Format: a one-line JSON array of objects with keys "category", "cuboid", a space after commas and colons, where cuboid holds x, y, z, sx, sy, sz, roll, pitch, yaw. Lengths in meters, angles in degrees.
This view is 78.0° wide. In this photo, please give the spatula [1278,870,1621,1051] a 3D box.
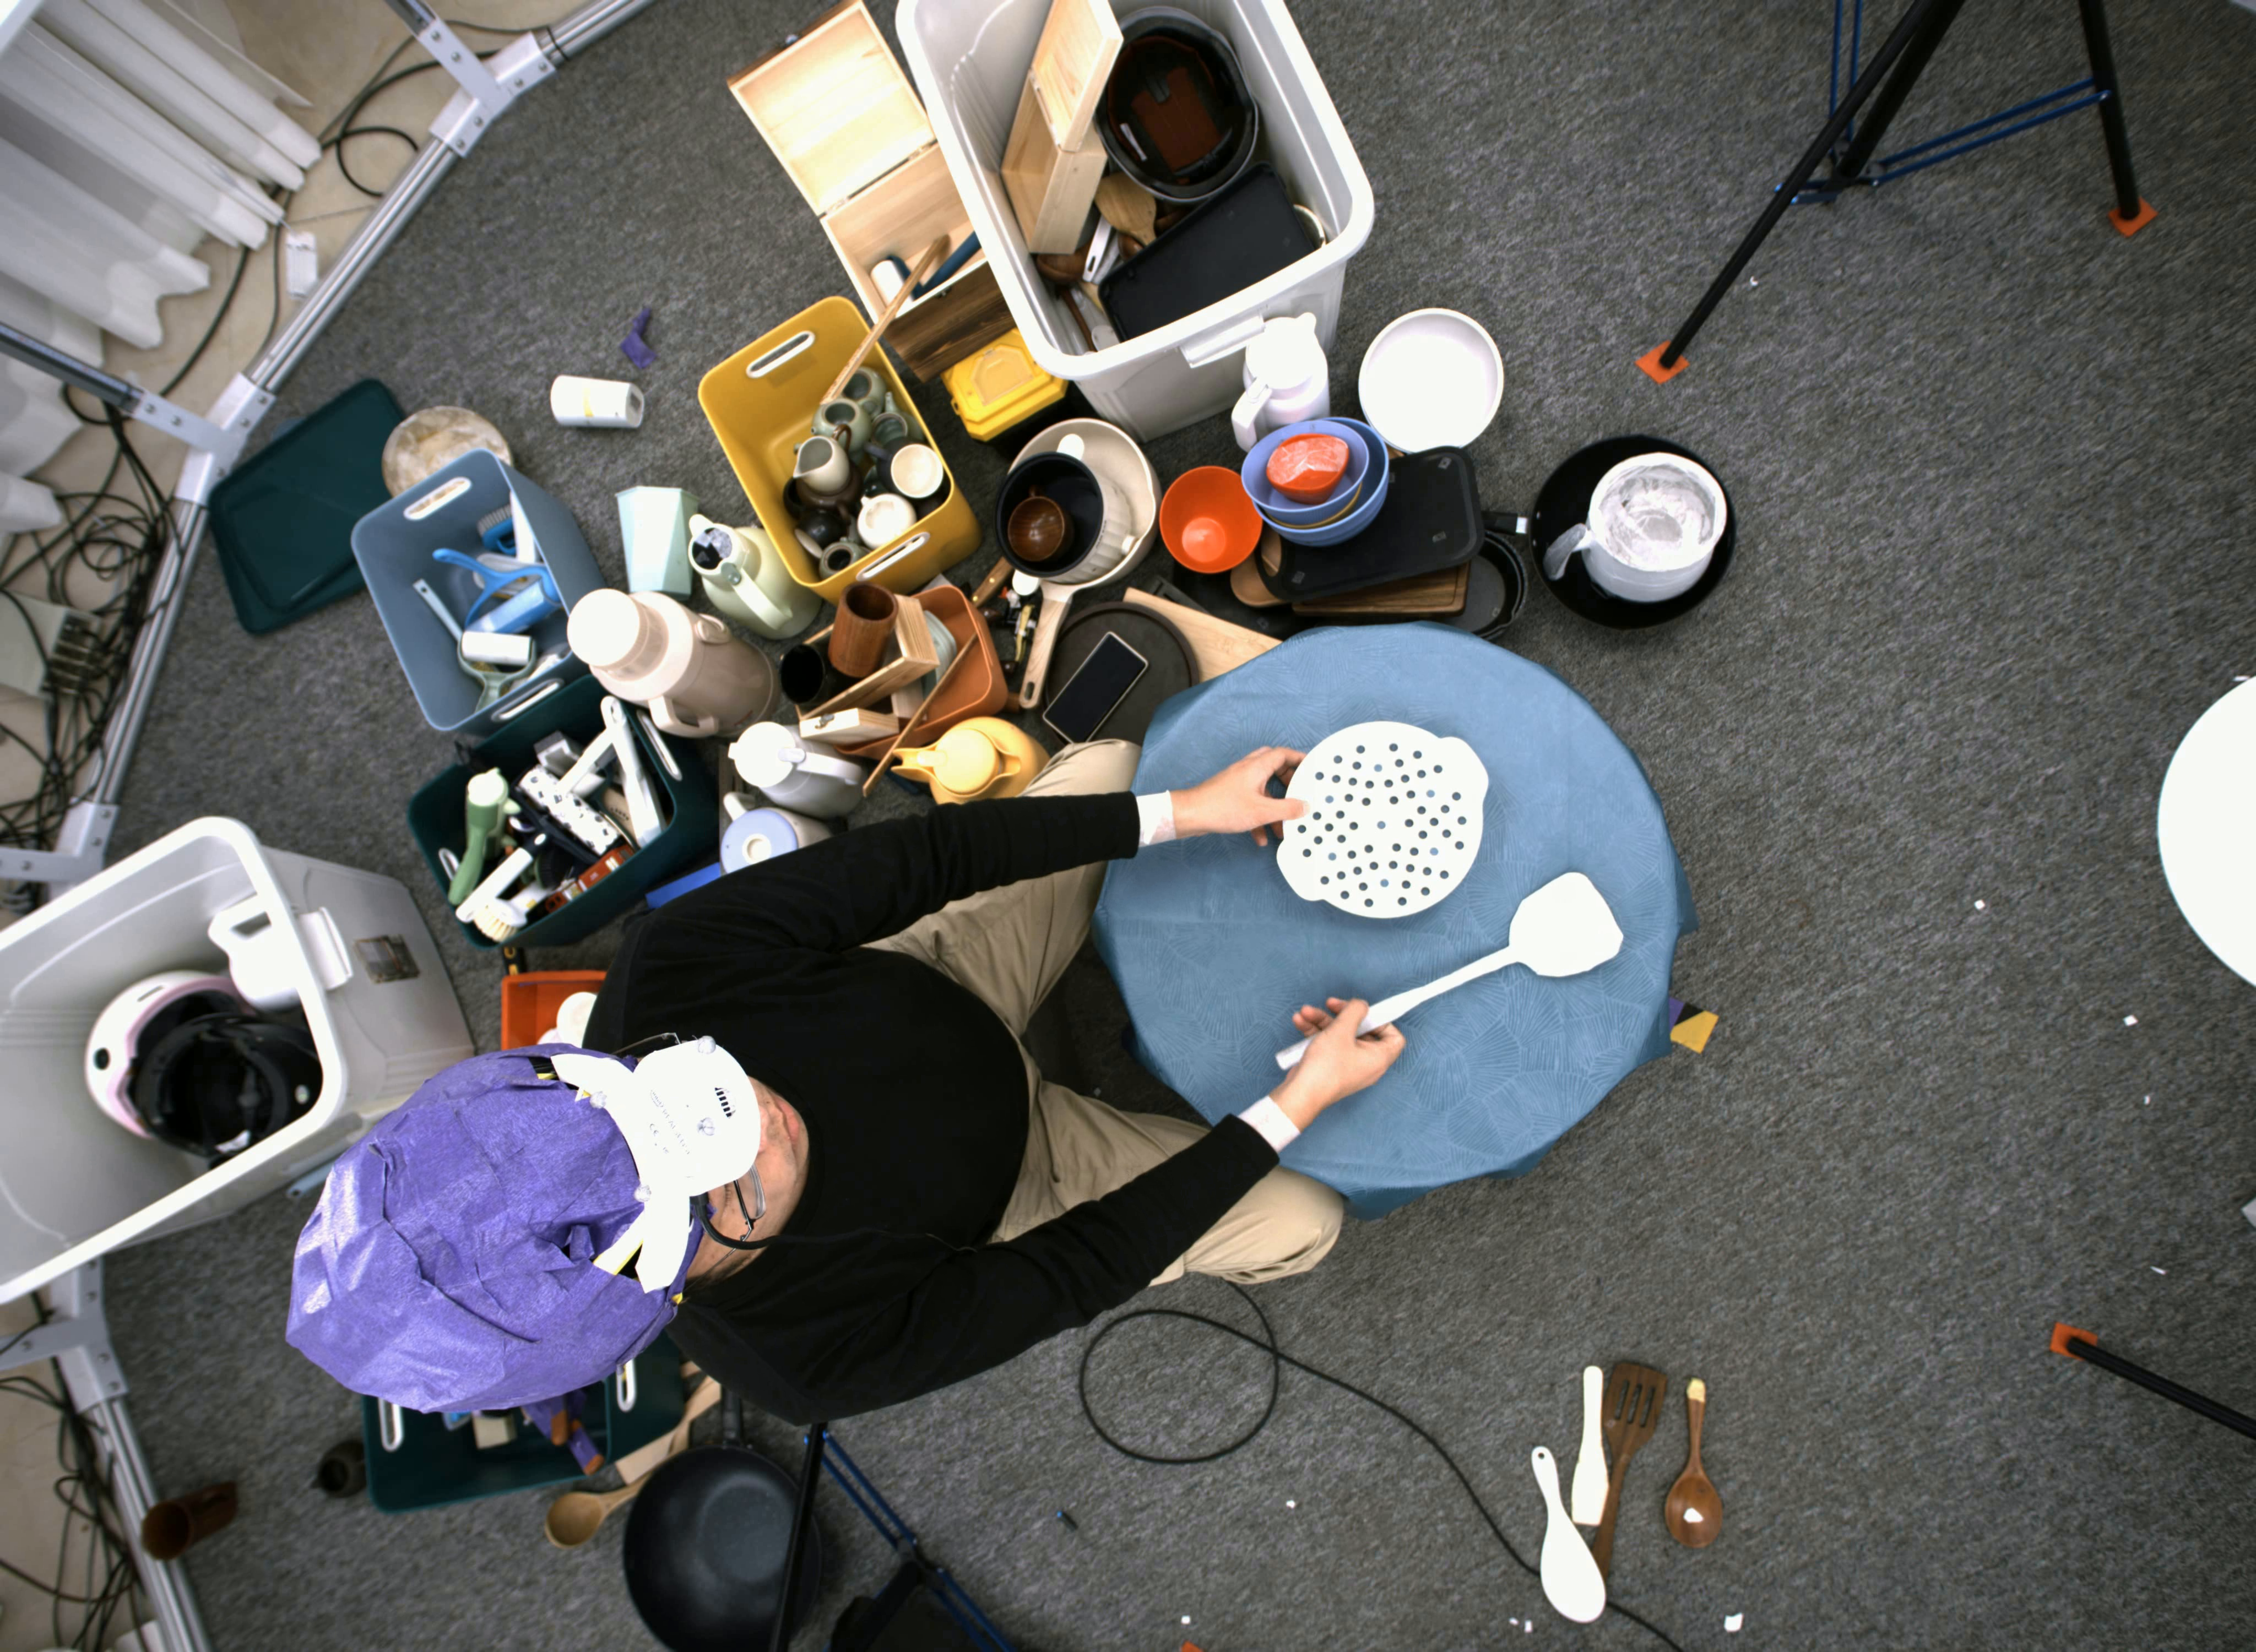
[{"category": "spatula", "cuboid": [0.323, 0.153, 1.405, 0.364, 0.045, 0.097, -23, 75, -3]}]

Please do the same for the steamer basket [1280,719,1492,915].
[{"category": "steamer basket", "cuboid": [0.267, -0.008, 1.430, 0.232, 0.069, 0.200, -33, 80, 8]}]
